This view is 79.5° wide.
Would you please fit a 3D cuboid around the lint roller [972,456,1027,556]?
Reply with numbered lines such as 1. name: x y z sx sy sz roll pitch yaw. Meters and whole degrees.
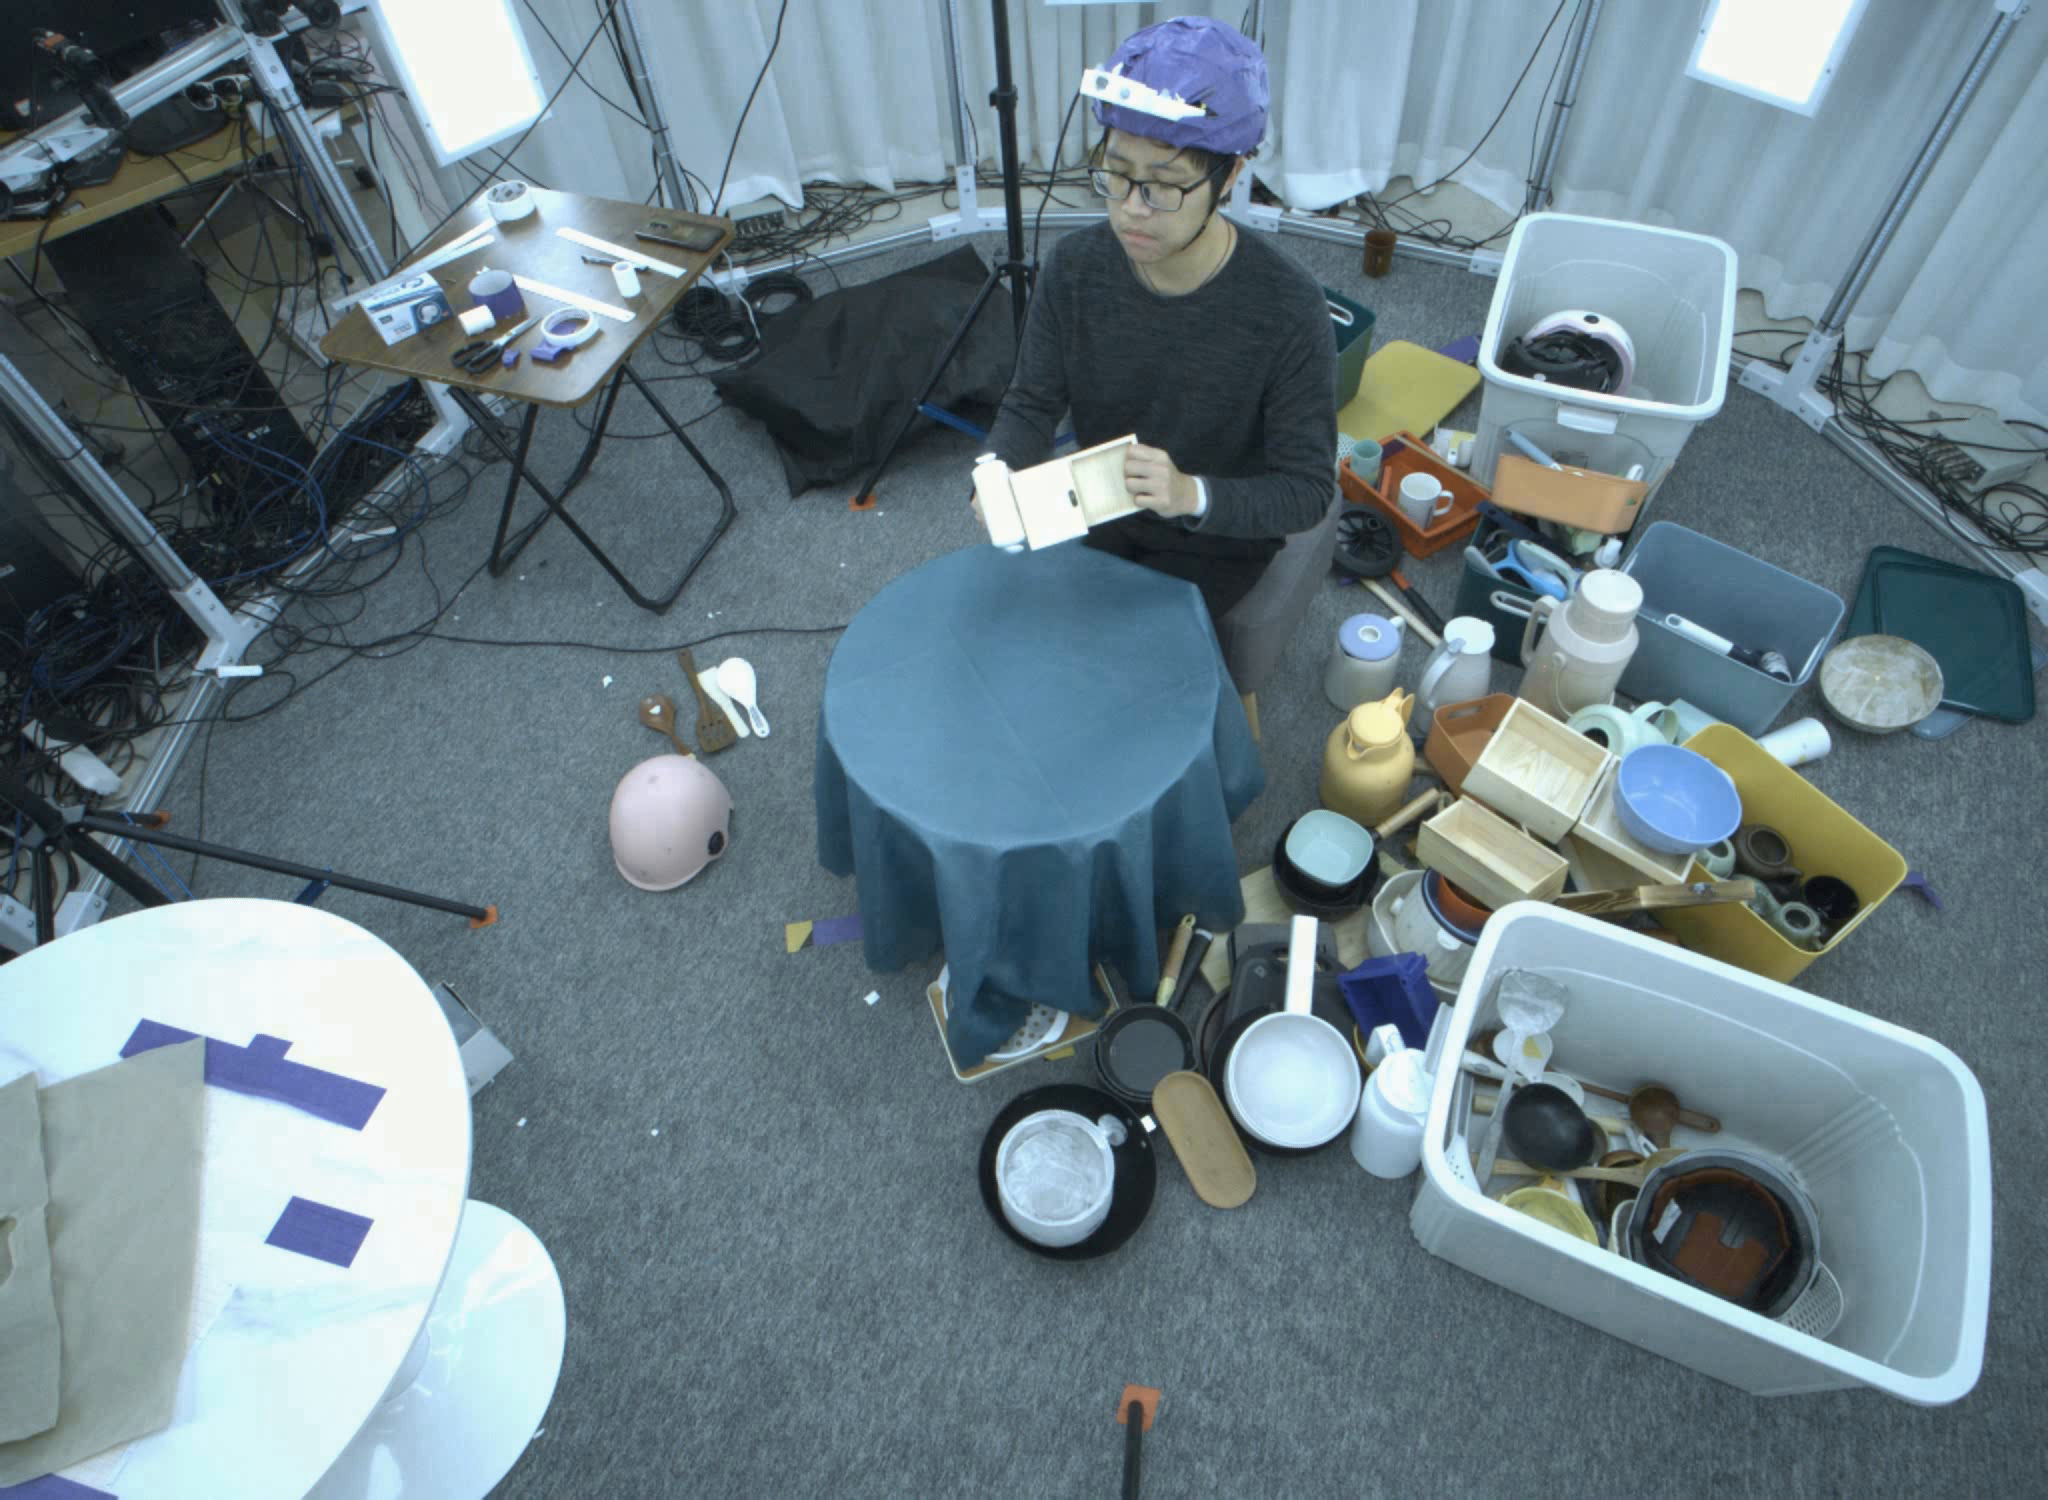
1. lint roller: -0.042 -0.328 1.660 0.050 0.179 0.134 -19 101 -6

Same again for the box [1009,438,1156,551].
1. box: 0.081 -0.345 1.634 0.184 0.103 0.133 -17 14 3
